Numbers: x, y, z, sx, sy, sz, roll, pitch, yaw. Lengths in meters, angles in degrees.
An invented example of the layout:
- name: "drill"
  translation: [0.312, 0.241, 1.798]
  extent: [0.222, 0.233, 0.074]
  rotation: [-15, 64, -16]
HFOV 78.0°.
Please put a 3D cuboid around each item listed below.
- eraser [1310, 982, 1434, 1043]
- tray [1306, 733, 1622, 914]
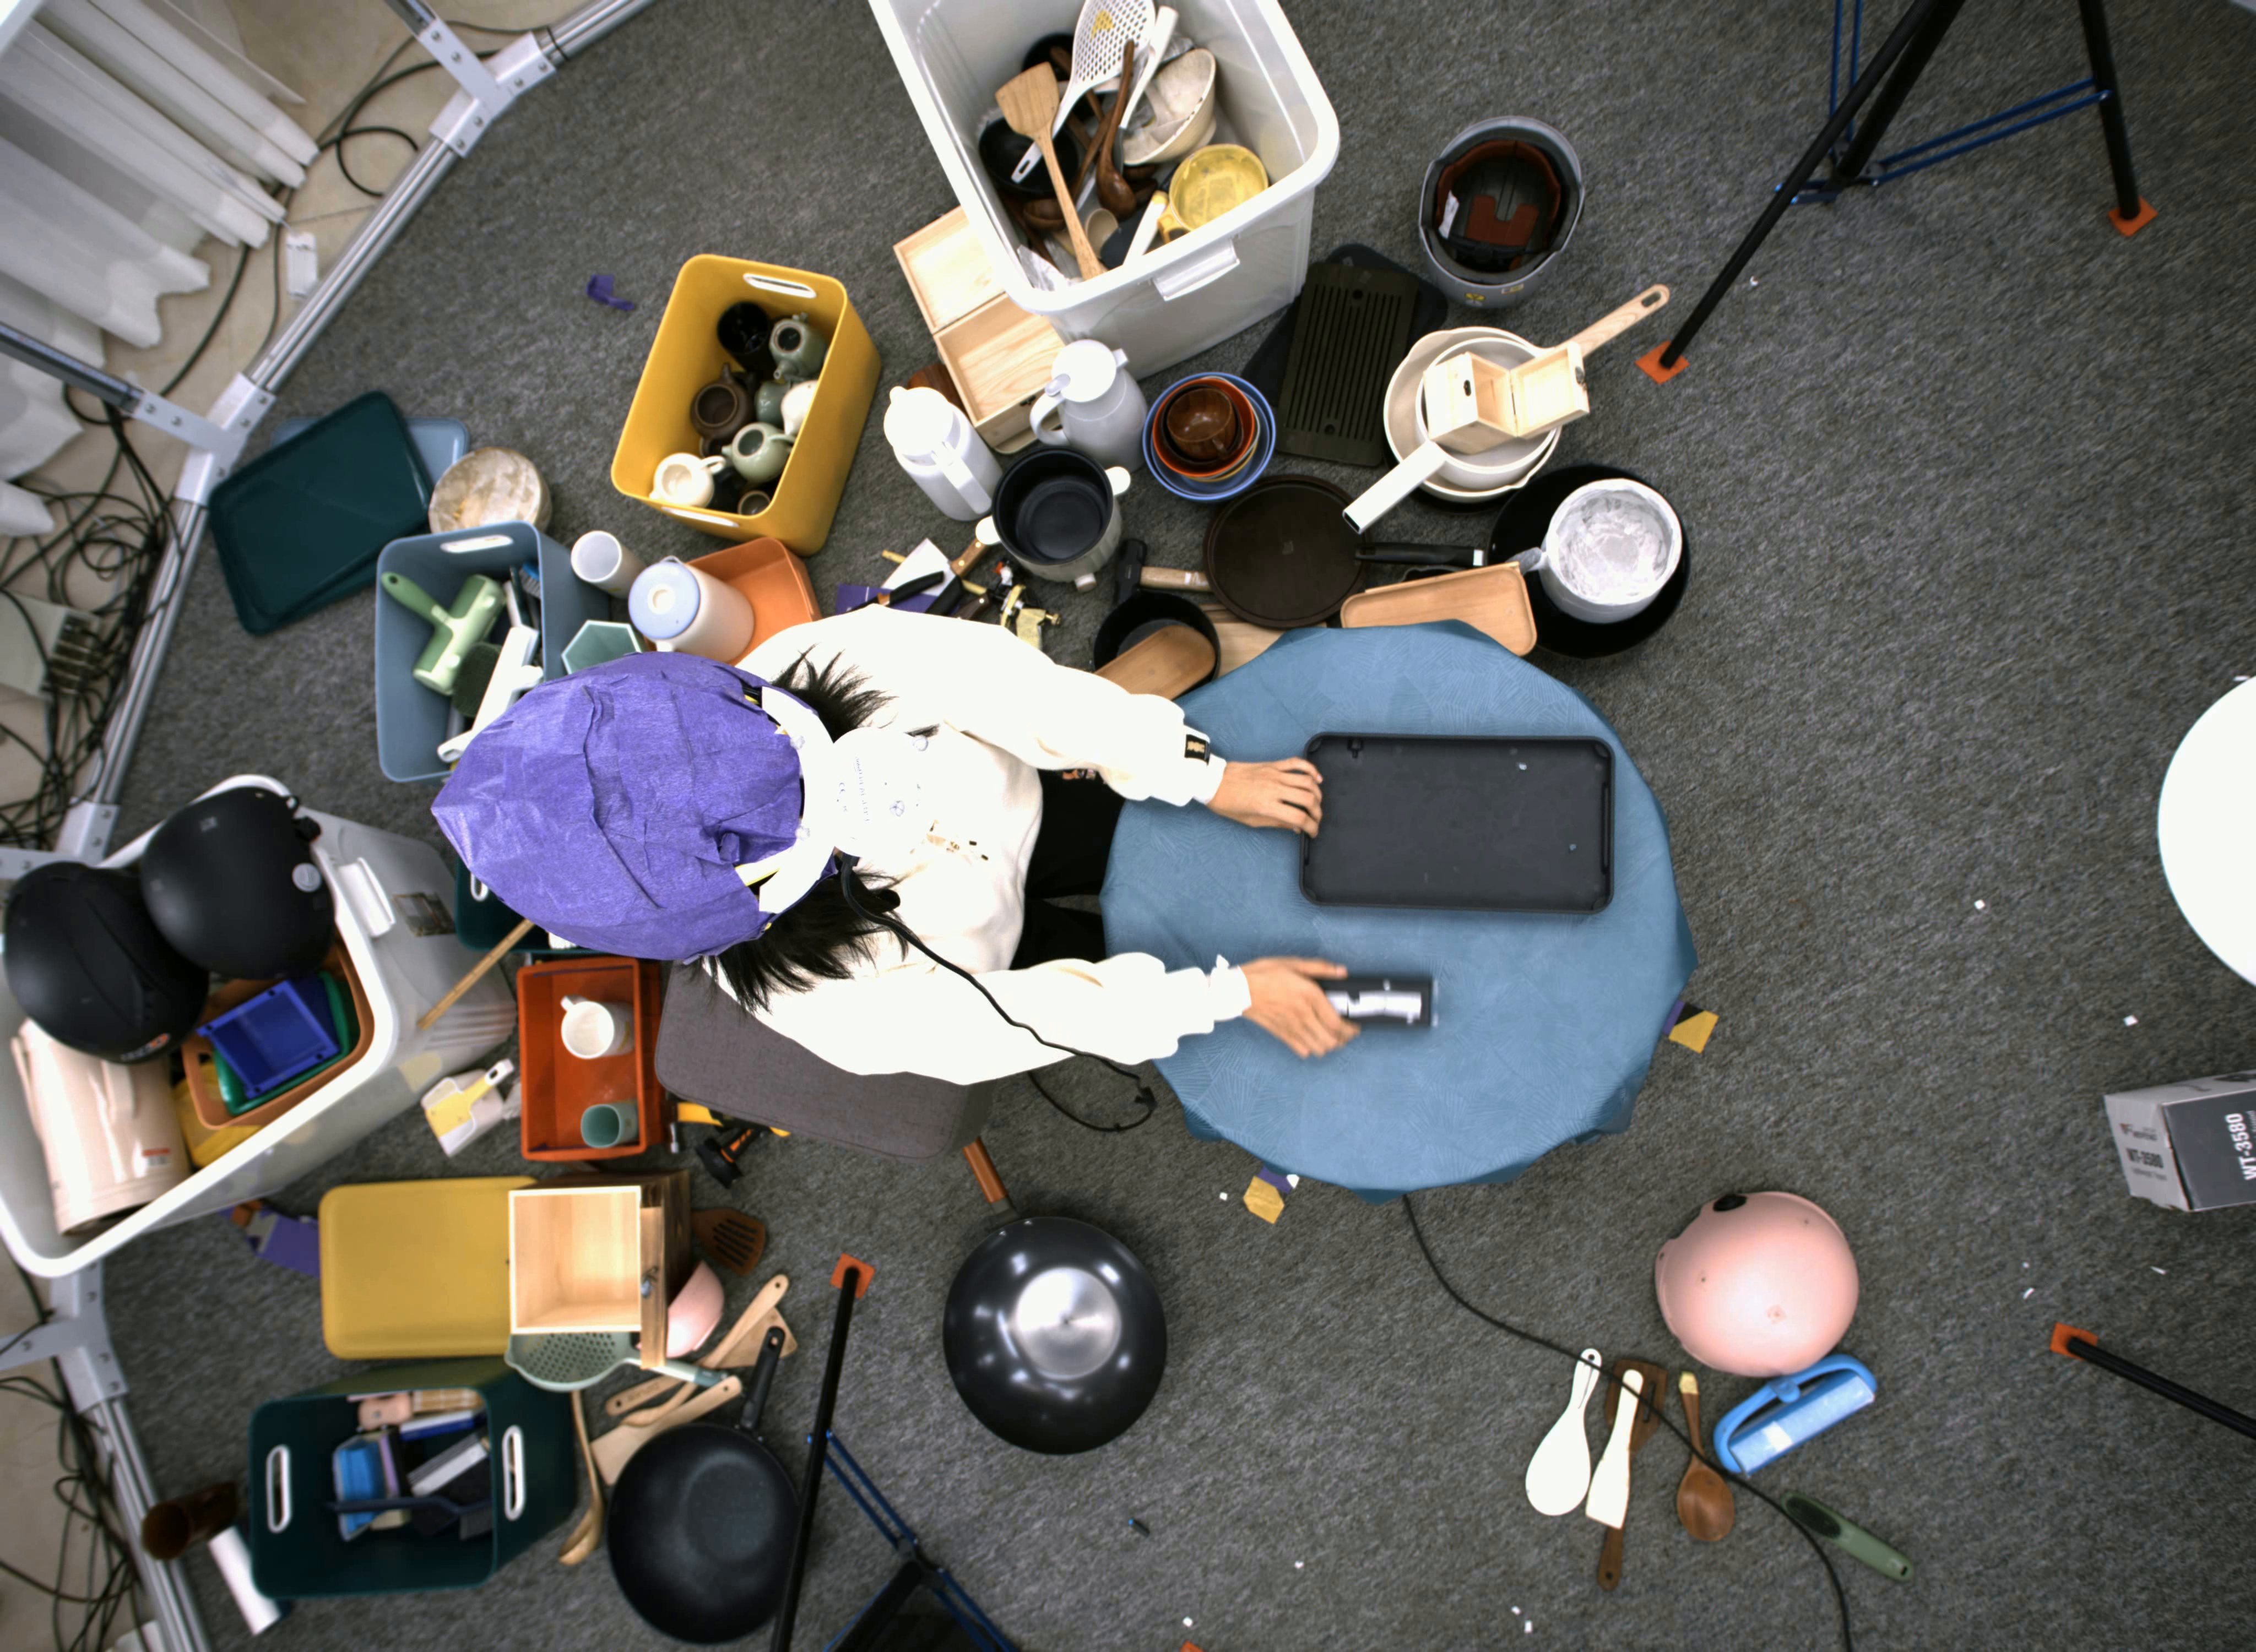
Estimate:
- name: "eraser"
  translation: [0.252, 0.191, 1.429]
  extent: [0.126, 0.030, 0.053]
  rotation: [3, 90, 11]
- name: "tray"
  translation: [0.347, -0.005, 1.431]
  extent: [0.319, 0.037, 0.183]
  rotation: [1, 86, 11]
